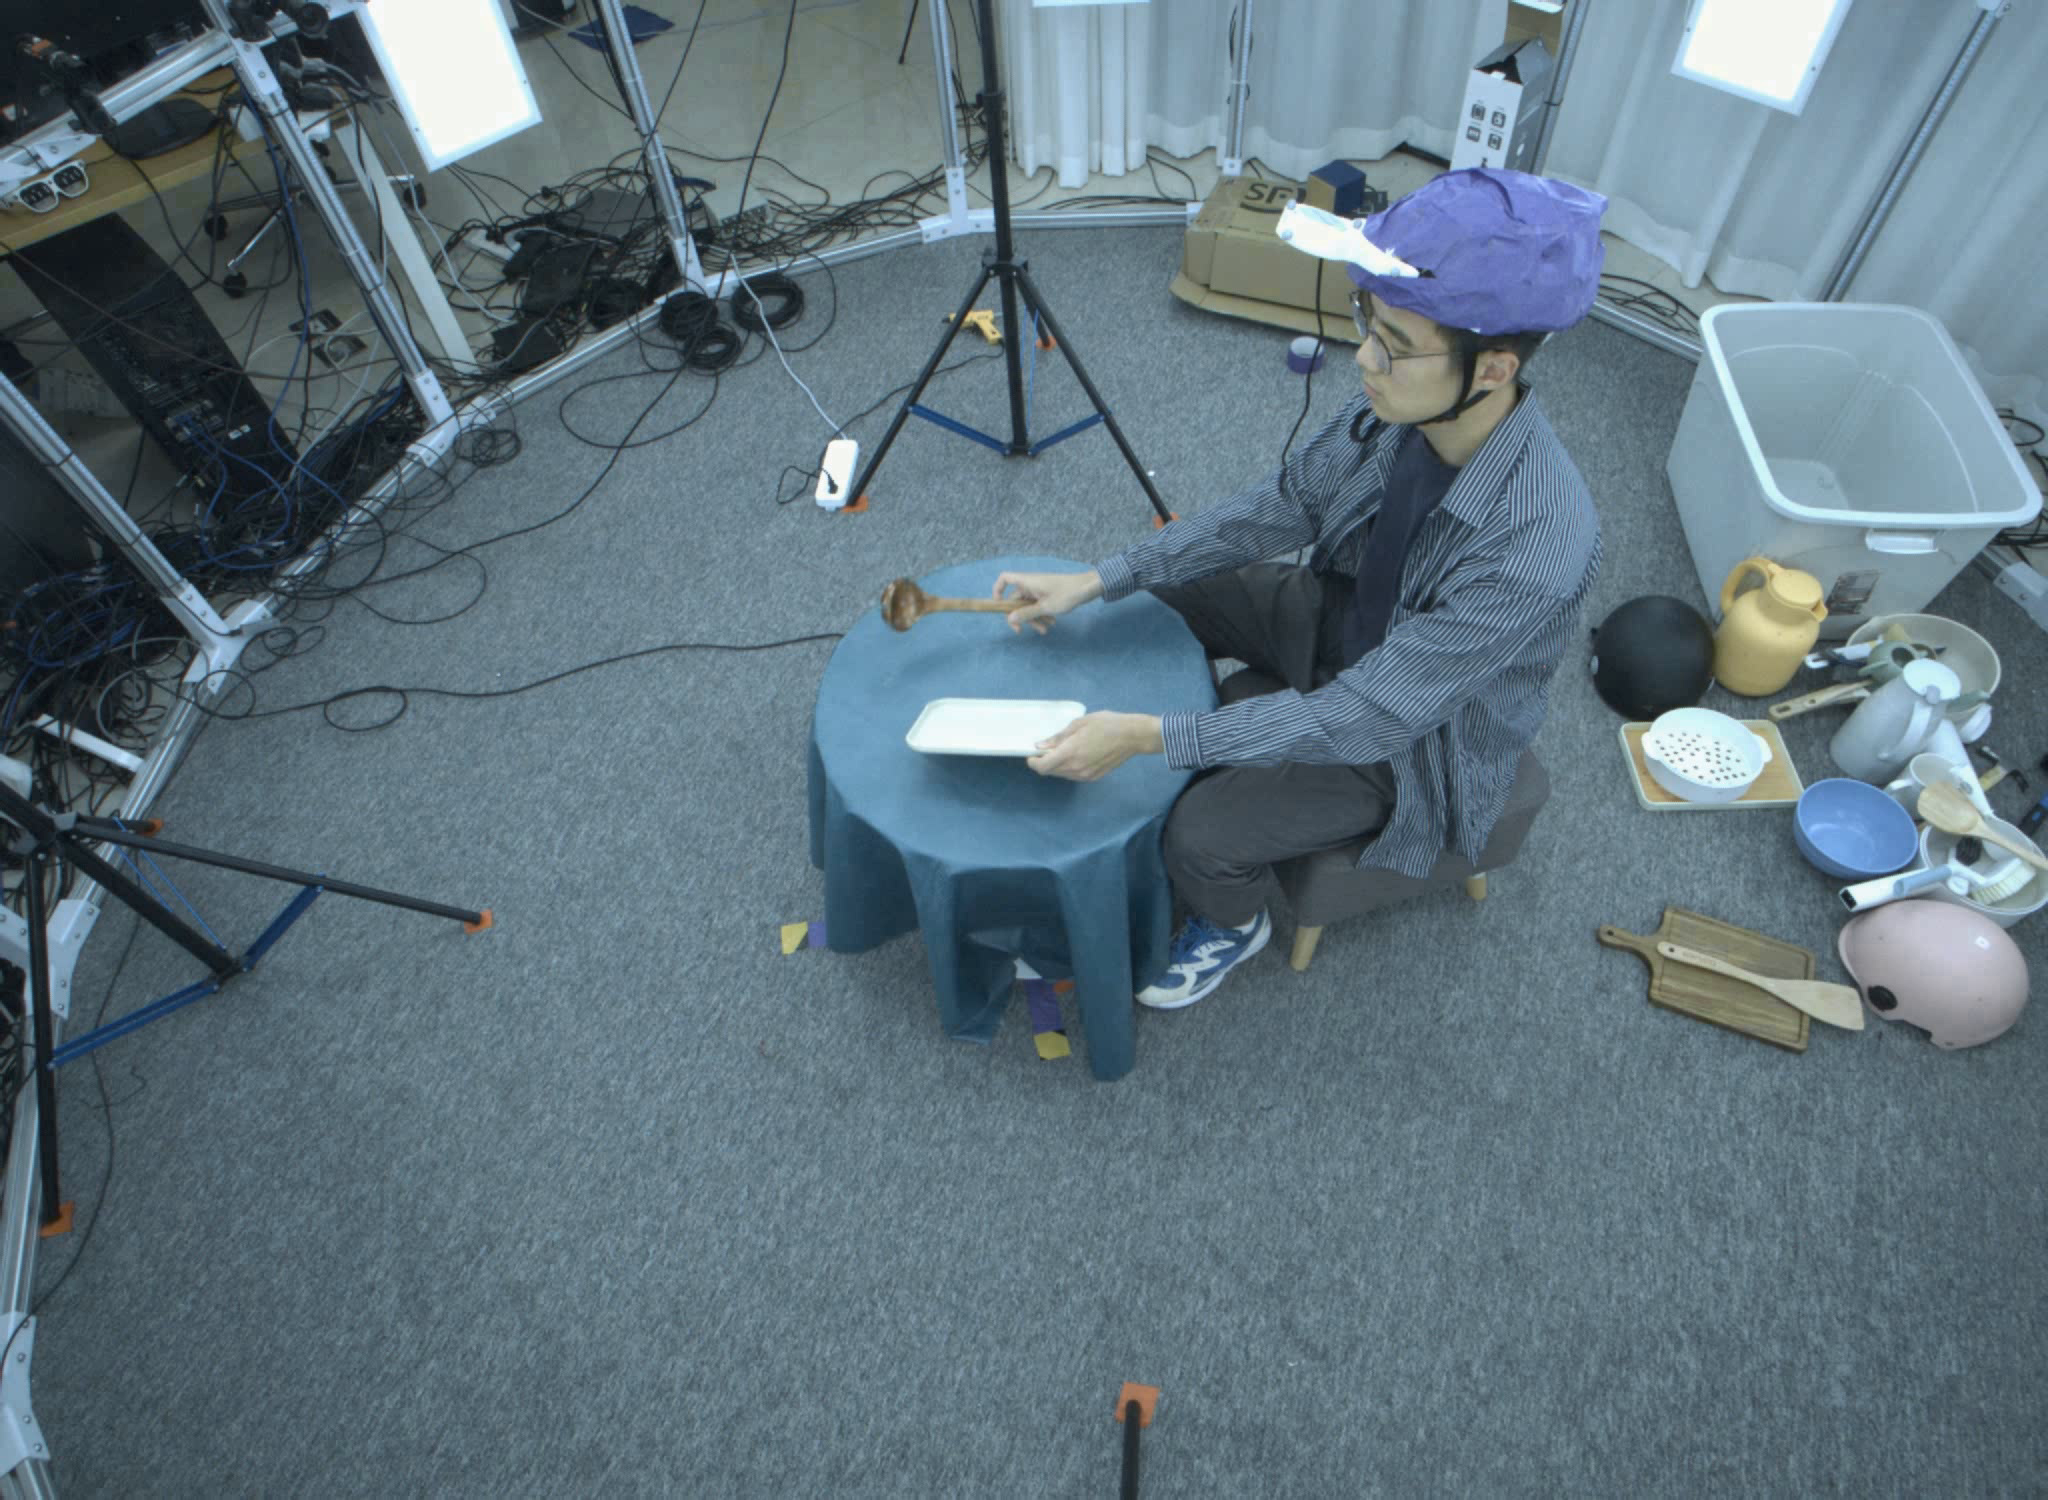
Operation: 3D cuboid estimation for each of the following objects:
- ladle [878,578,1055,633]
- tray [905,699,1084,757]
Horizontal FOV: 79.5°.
[{"bbox_3d":[-0.083,-0.213,1.841,0.276,0.082,0.075,2,18,-11],"label":"ladle"},{"bbox_3d":[-0.040,-0.031,1.748,0.238,0.017,0.171,2,26,9],"label":"tray"}]
